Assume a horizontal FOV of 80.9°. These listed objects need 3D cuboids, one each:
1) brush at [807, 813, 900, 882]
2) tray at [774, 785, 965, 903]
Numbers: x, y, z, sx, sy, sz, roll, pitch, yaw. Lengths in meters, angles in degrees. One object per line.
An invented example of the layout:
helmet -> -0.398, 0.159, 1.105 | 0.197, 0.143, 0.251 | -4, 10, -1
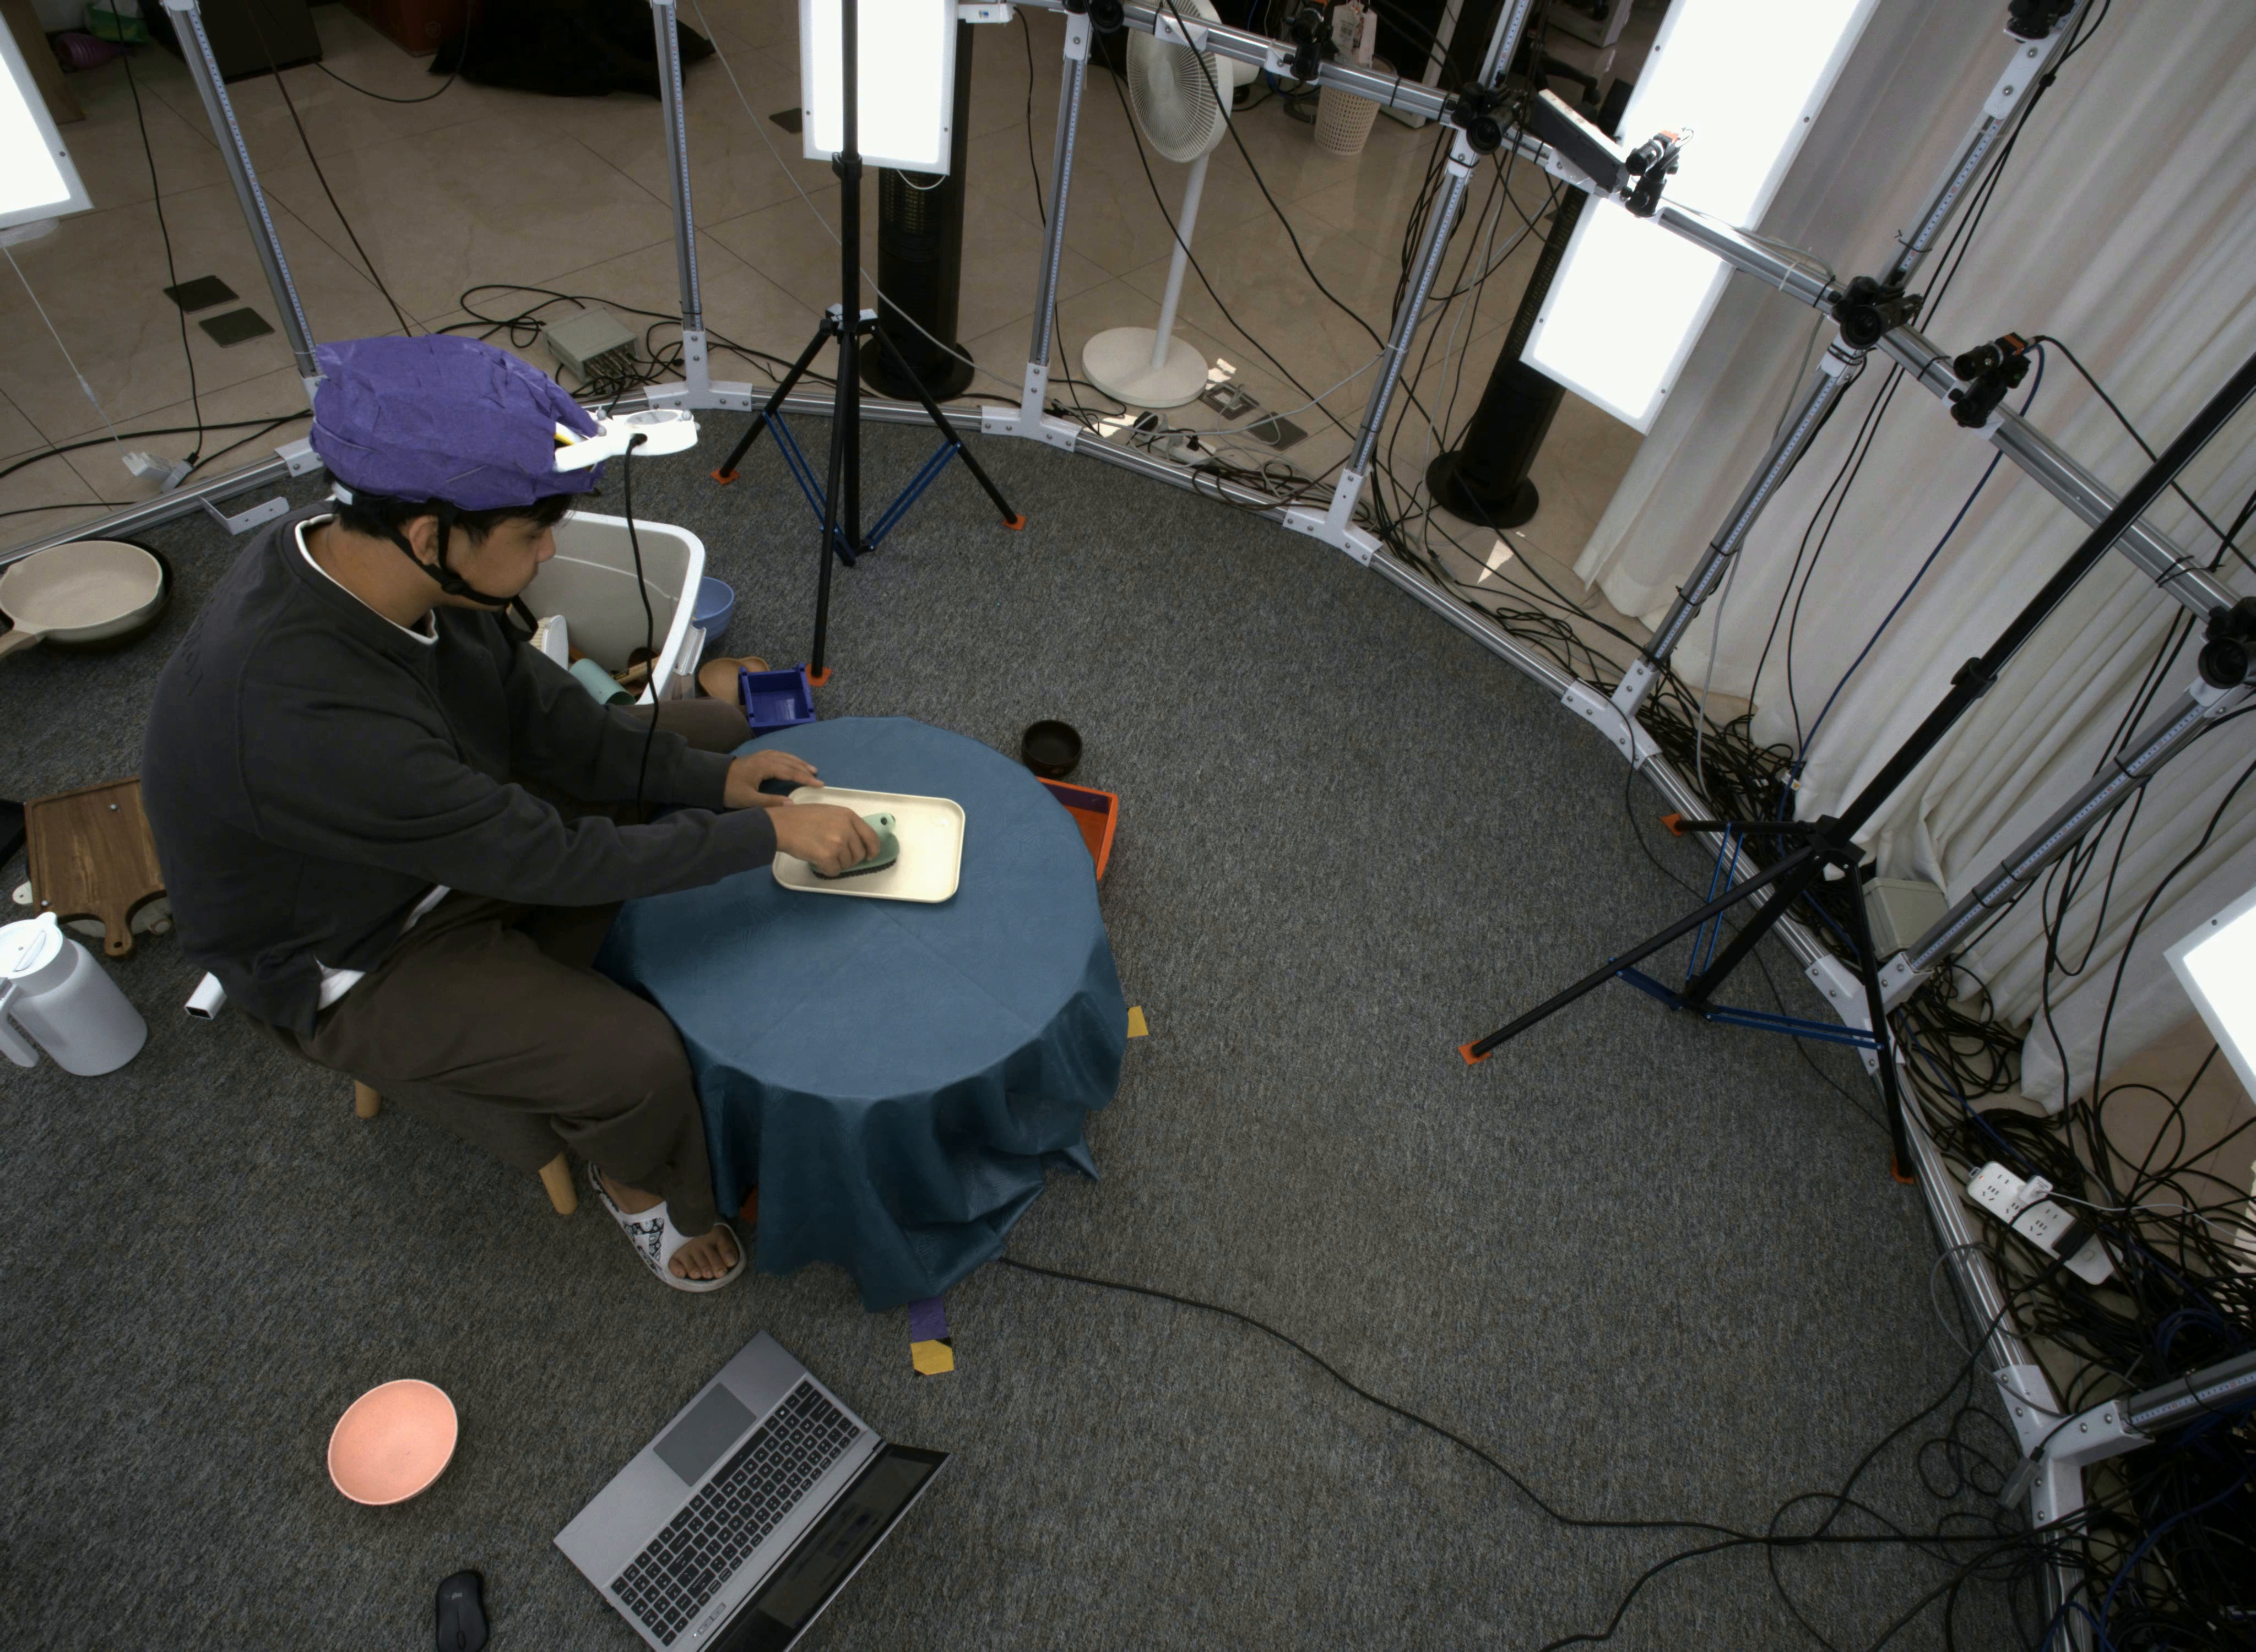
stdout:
brush -> -0.353, 0.029, 1.679 | 0.122, 0.078, 0.058 | -20, 57, -9
tray -> -0.337, 0.024, 1.712 | 0.239, 0.018, 0.168 | 7, 52, -9
